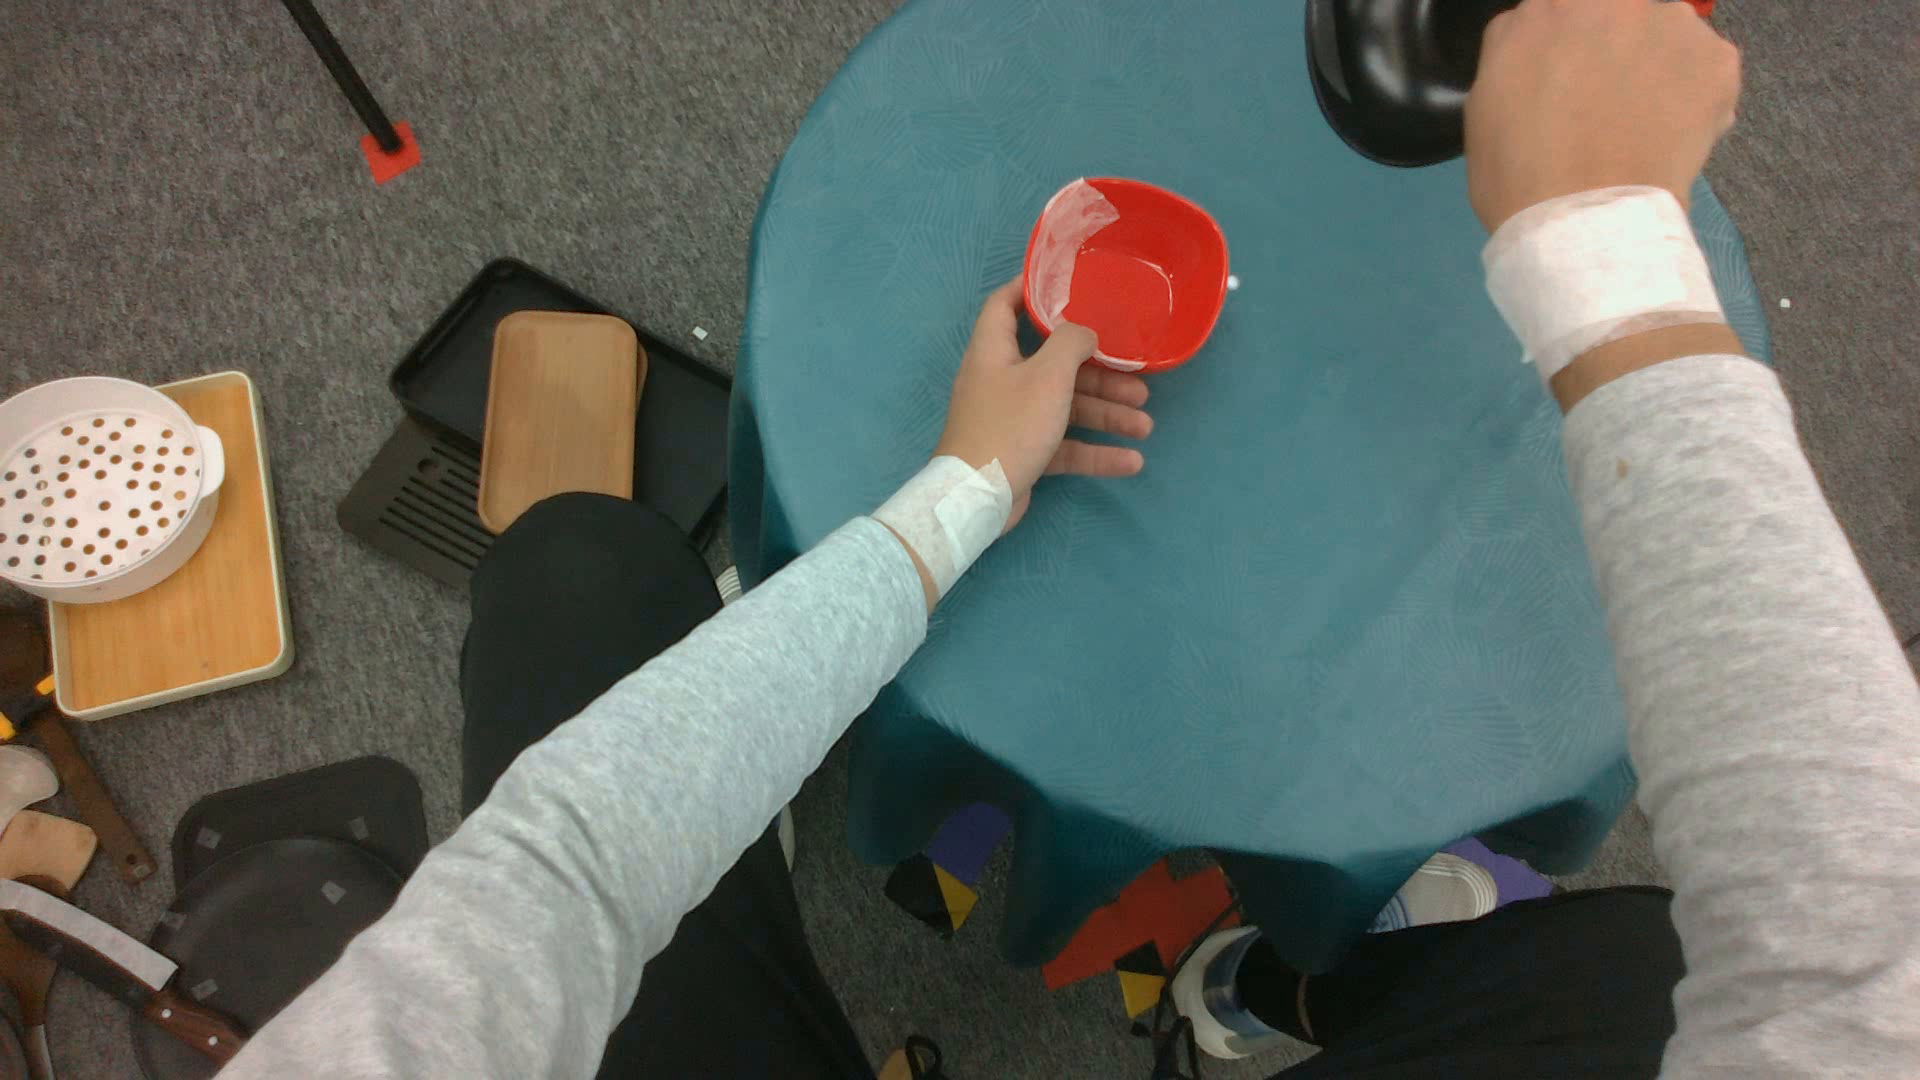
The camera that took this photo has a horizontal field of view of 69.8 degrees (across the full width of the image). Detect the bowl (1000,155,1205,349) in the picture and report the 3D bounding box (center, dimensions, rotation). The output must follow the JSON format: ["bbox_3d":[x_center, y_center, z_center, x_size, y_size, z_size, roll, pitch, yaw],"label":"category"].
[{"bbox_3d":[0.075,-0.151,0.764,0.119,0.051,0.119,3,69,-7],"label":"bowl"}]

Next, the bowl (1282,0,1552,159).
[{"bbox_3d":[0.203,-0.238,0.593,0.050,0.139,0.140,-13,74,-26],"label":"bowl"}]
